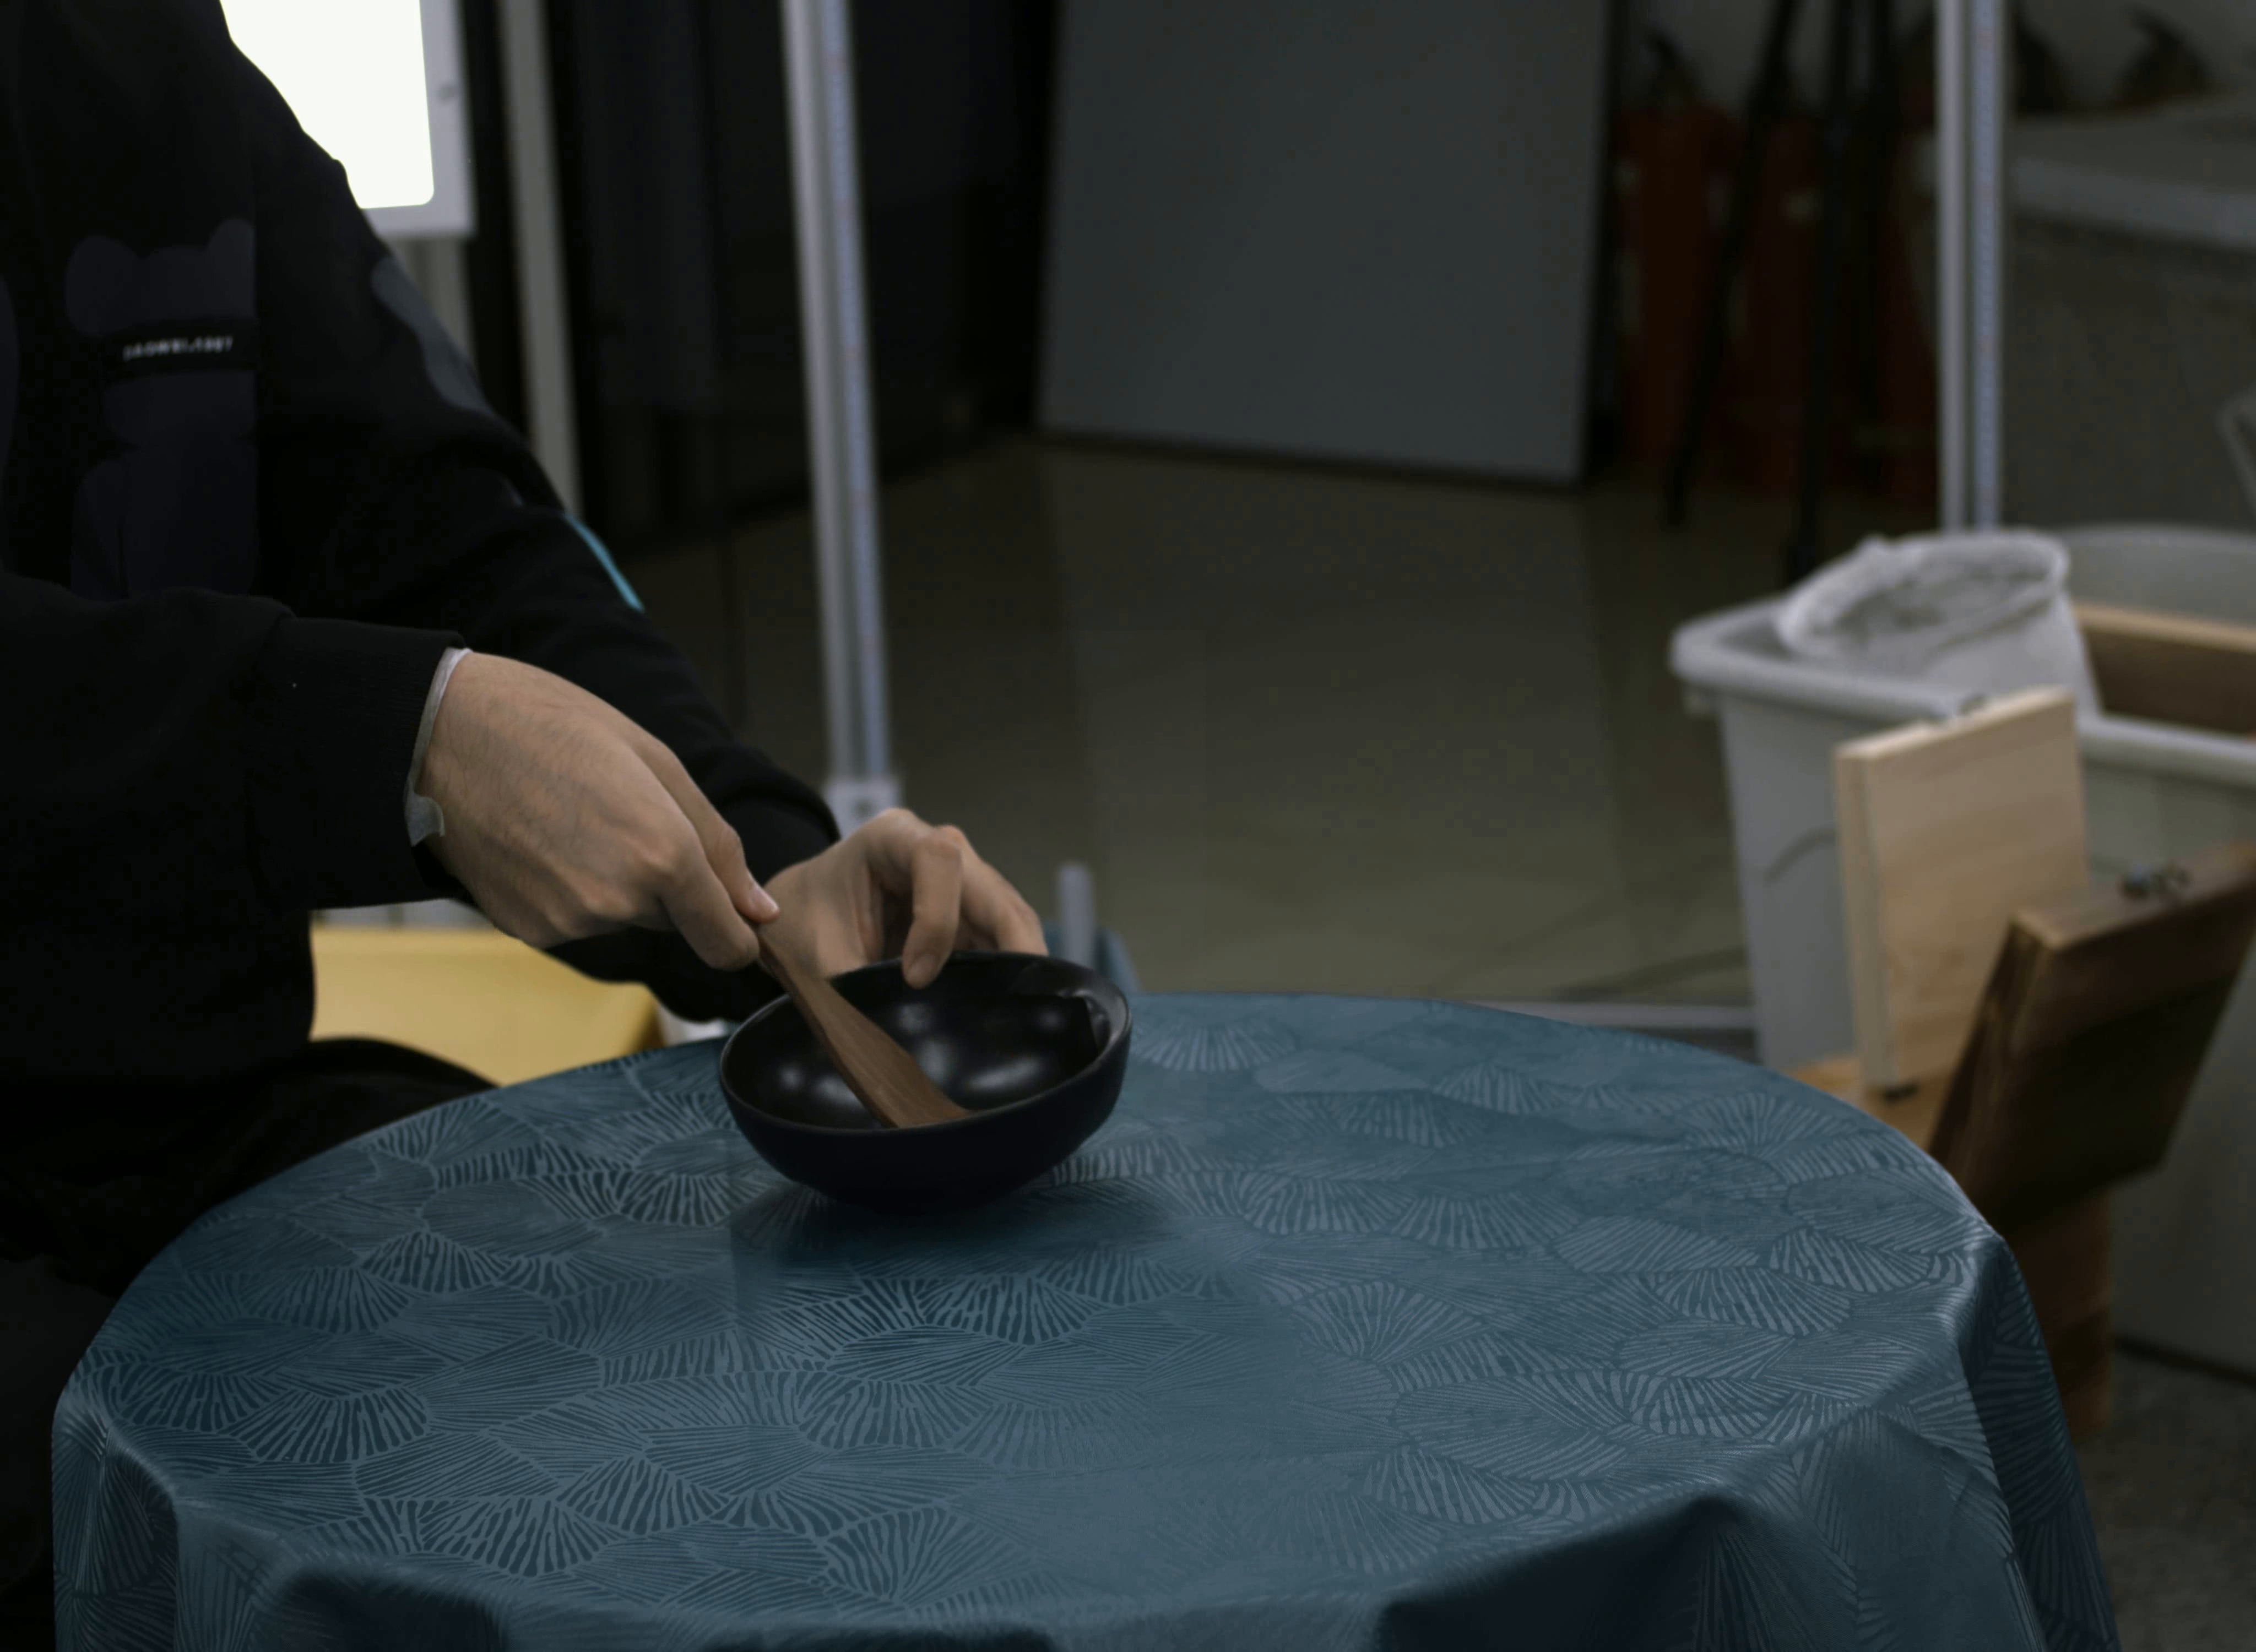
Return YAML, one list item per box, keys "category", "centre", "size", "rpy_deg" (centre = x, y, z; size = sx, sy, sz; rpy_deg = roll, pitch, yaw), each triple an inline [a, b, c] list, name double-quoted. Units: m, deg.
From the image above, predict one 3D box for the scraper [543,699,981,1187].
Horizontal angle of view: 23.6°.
- category: "scraper"
  centre: [-0.117, 0.038, 1.763]
  size: [0.011, 0.211, 0.075]
  rpy_deg: [-43, -1, 11]

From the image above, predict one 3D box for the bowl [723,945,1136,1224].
- category: "bowl"
  centre: [-0.062, 0.092, 1.780]
  size: [0.138, 0.050, 0.140]
  rpy_deg: [-8, 24, 3]
